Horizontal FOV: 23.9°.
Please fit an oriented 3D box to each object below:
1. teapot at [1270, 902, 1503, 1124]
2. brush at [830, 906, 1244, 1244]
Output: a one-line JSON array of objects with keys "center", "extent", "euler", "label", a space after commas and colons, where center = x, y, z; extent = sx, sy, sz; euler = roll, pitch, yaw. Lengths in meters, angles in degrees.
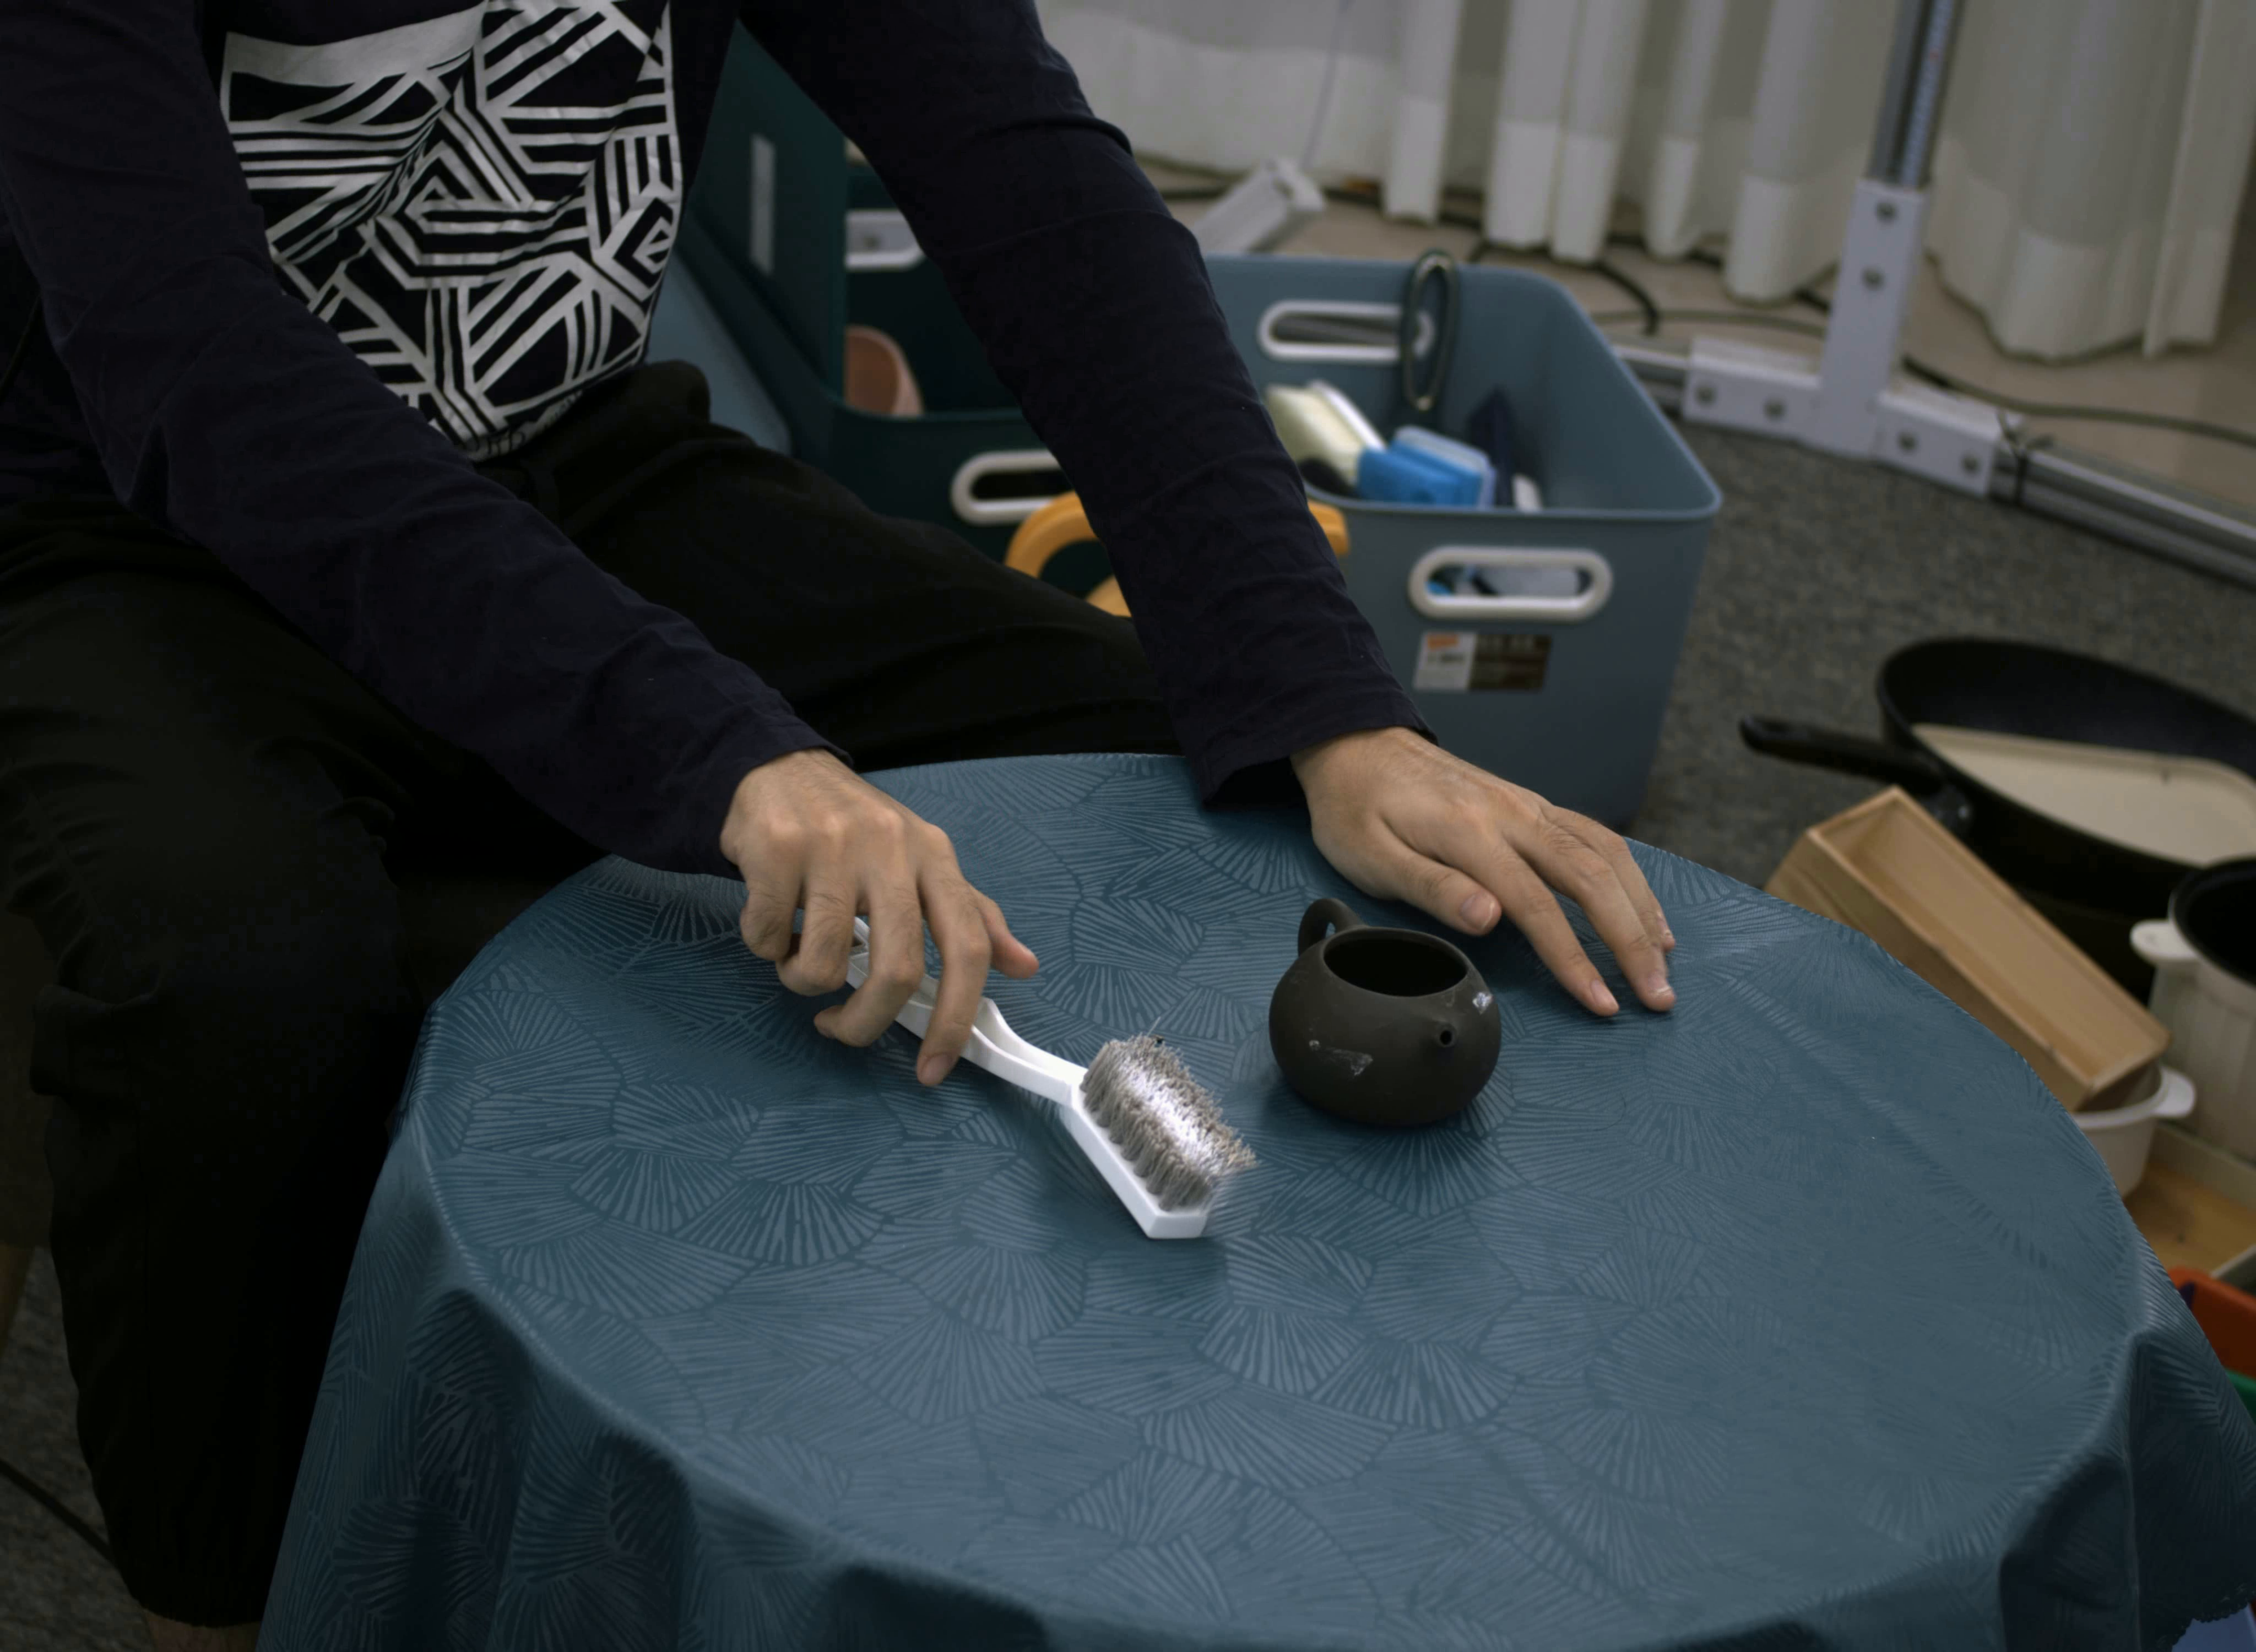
[{"center": [0.087, 0.064, 1.887], "extent": [0.082, 0.053, 0.115], "euler": [-6, 30, -21], "label": "teapot"}, {"center": [-0.037, 0.069, 1.853], "extent": [0.034, 0.050, 0.246], "euler": [-15, 34, -28], "label": "brush"}]
